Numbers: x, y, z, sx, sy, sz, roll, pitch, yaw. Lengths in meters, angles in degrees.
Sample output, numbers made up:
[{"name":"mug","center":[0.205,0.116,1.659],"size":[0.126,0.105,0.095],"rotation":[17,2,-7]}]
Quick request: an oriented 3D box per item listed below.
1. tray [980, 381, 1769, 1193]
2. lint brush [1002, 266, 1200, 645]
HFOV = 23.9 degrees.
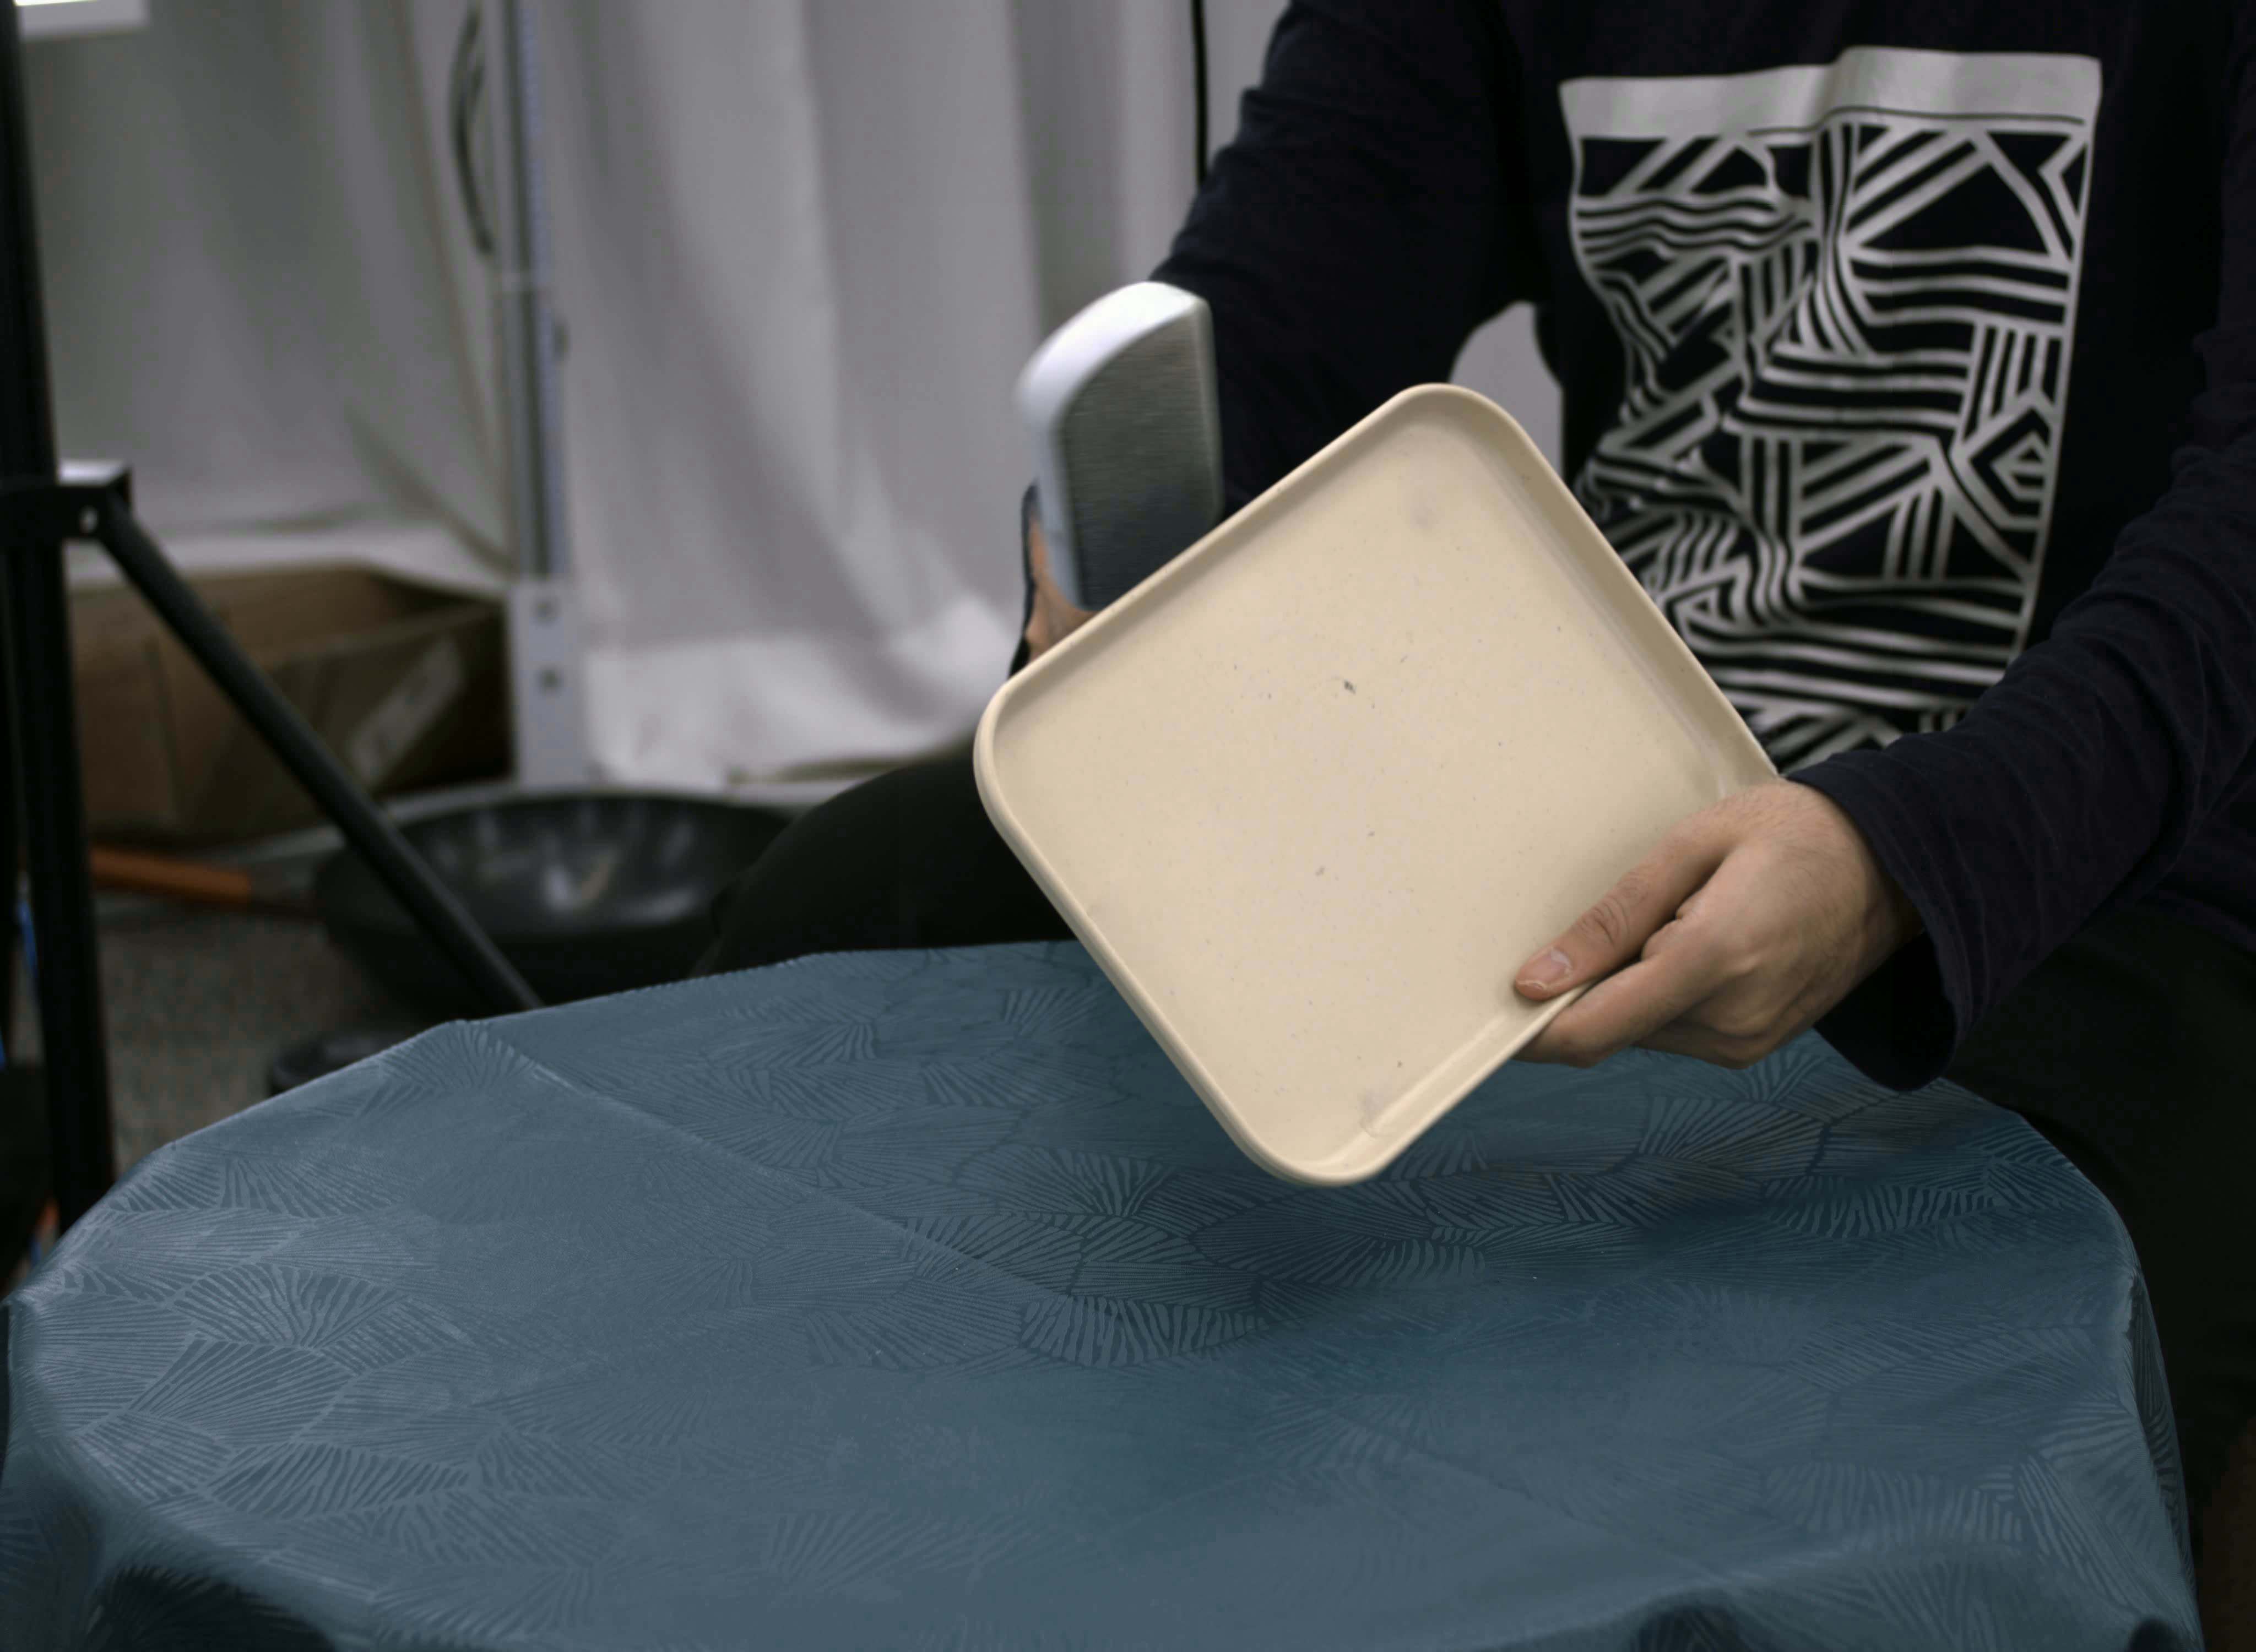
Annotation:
[{"name":"tray","center":[0.073,-0.013,1.510],"size":[0.236,0.171,0.018],"rotation":[-38,-2,-36]},{"name":"lint brush","center":[-0.002,-0.091,1.602],"size":[0.060,0.021,0.306],"rotation":[-39,-17,-10]}]
